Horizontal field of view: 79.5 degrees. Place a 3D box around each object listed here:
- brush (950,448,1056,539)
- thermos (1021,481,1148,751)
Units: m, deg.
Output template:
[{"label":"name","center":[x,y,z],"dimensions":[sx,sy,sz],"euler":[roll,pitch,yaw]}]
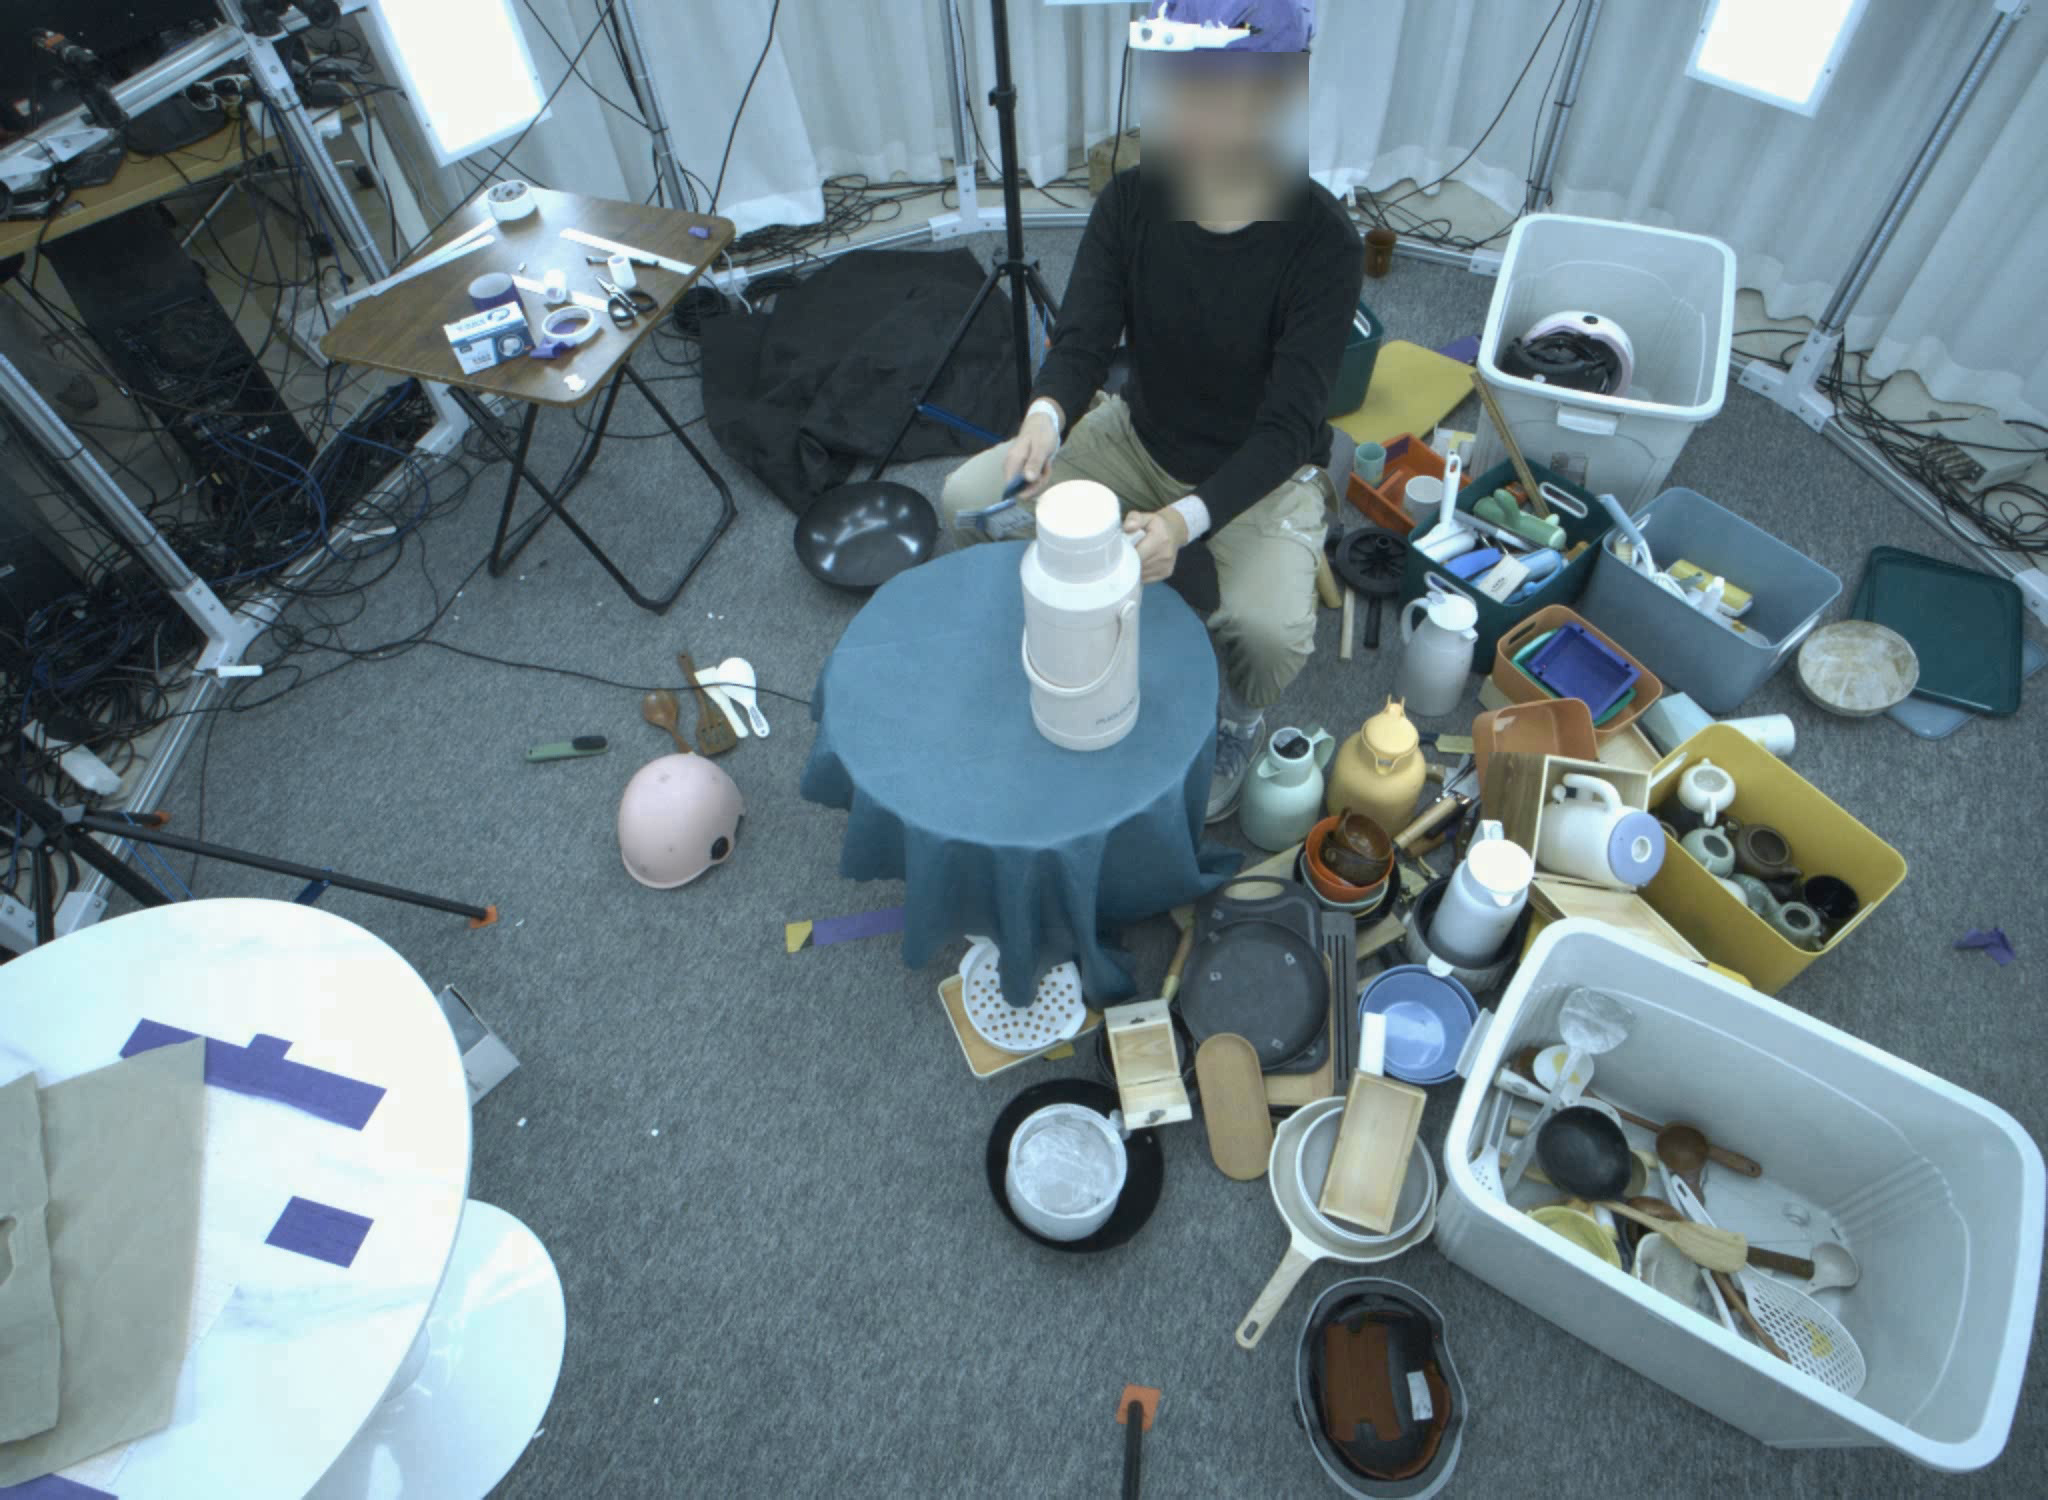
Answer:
[{"label":"brush","center":[-0.020,-0.356,1.660],"dimensions":[0.096,0.033,0.272],"euler":[20,38,1]},{"label":"thermos","center":[0.092,-0.186,1.671],"dimensions":[0.172,0.411,0.208],"euler":[36,64,27]}]
